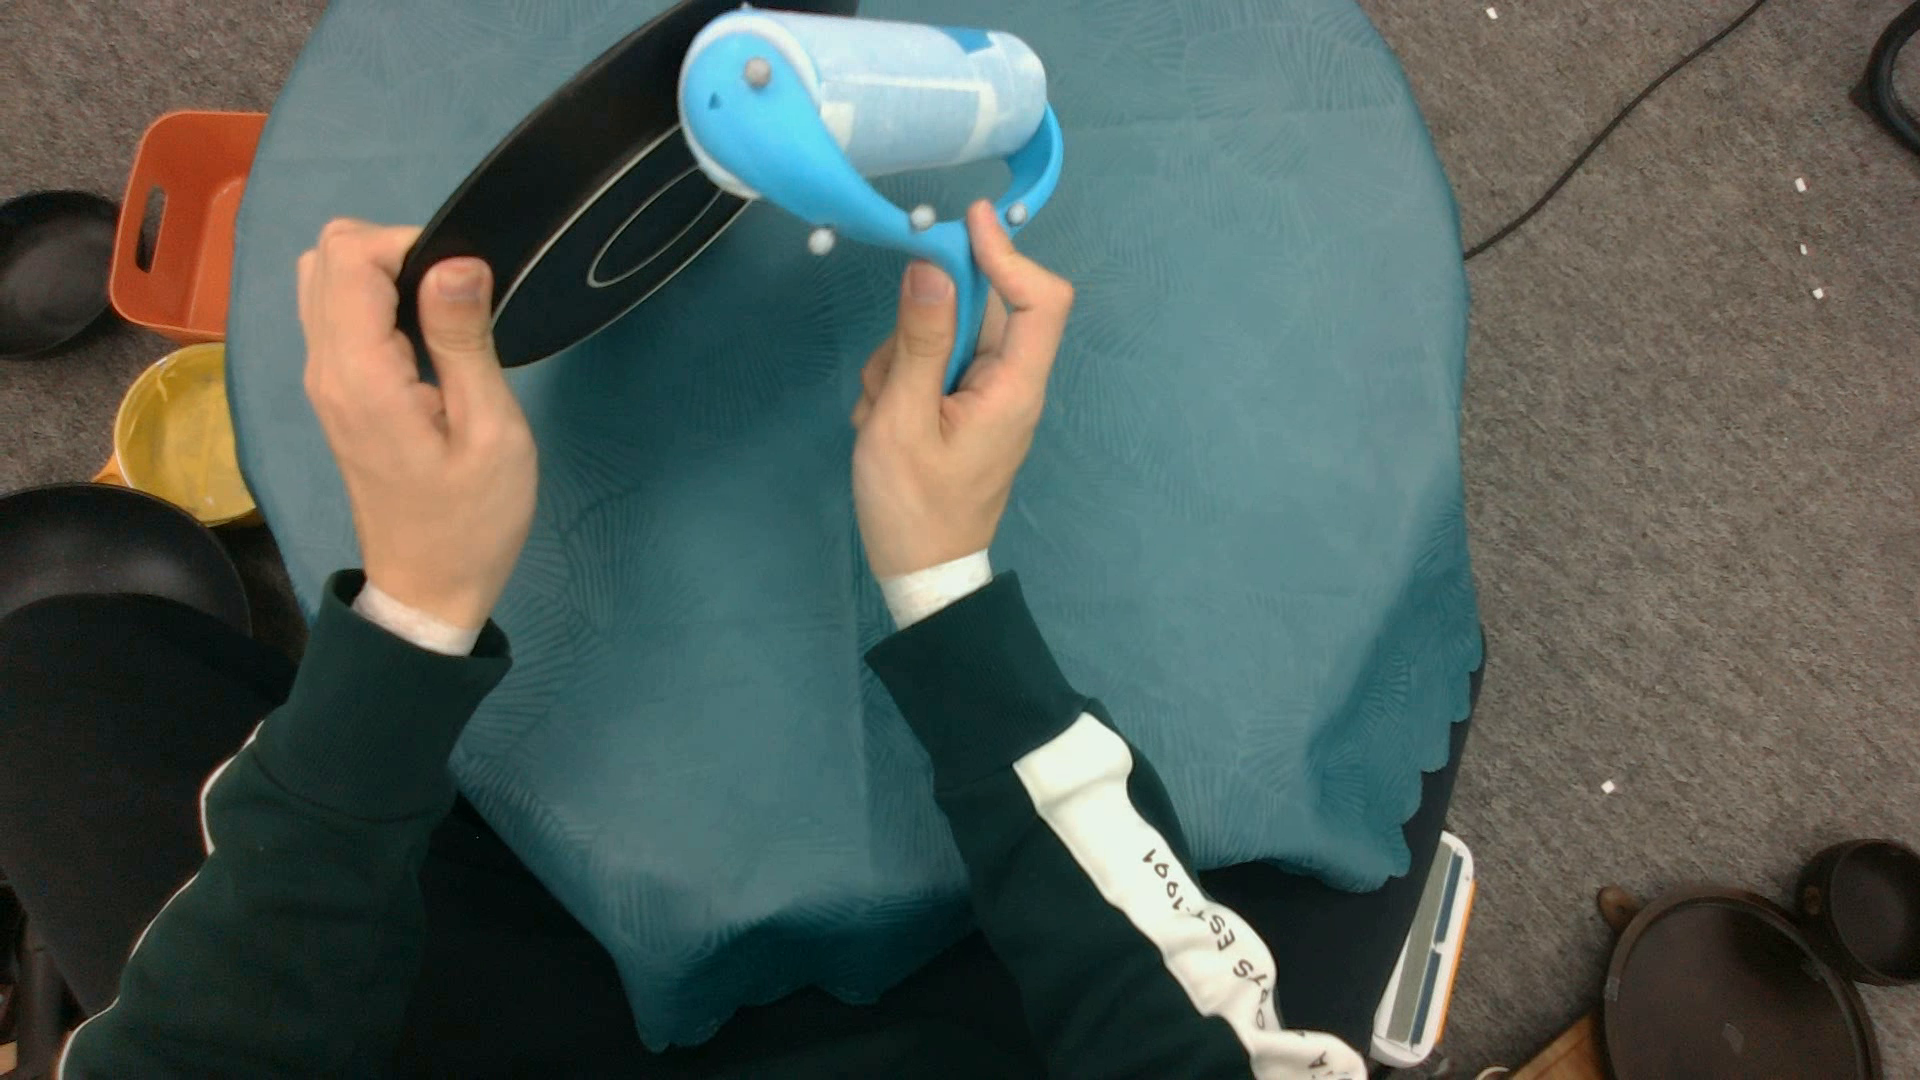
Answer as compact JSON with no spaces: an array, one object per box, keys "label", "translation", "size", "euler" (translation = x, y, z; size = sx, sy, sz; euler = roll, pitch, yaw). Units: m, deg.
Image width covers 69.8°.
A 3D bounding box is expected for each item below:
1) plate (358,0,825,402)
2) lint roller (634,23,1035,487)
[{"label":"plate","translation":[-0.135,-0.134,0.547],"size":[0.023,0.244,0.245],"euler":[46,78,-5]},{"label":"lint roller","translation":[-0.032,-0.107,0.537],"size":[0.068,0.230,0.180],"euler":[2,113,26]}]
